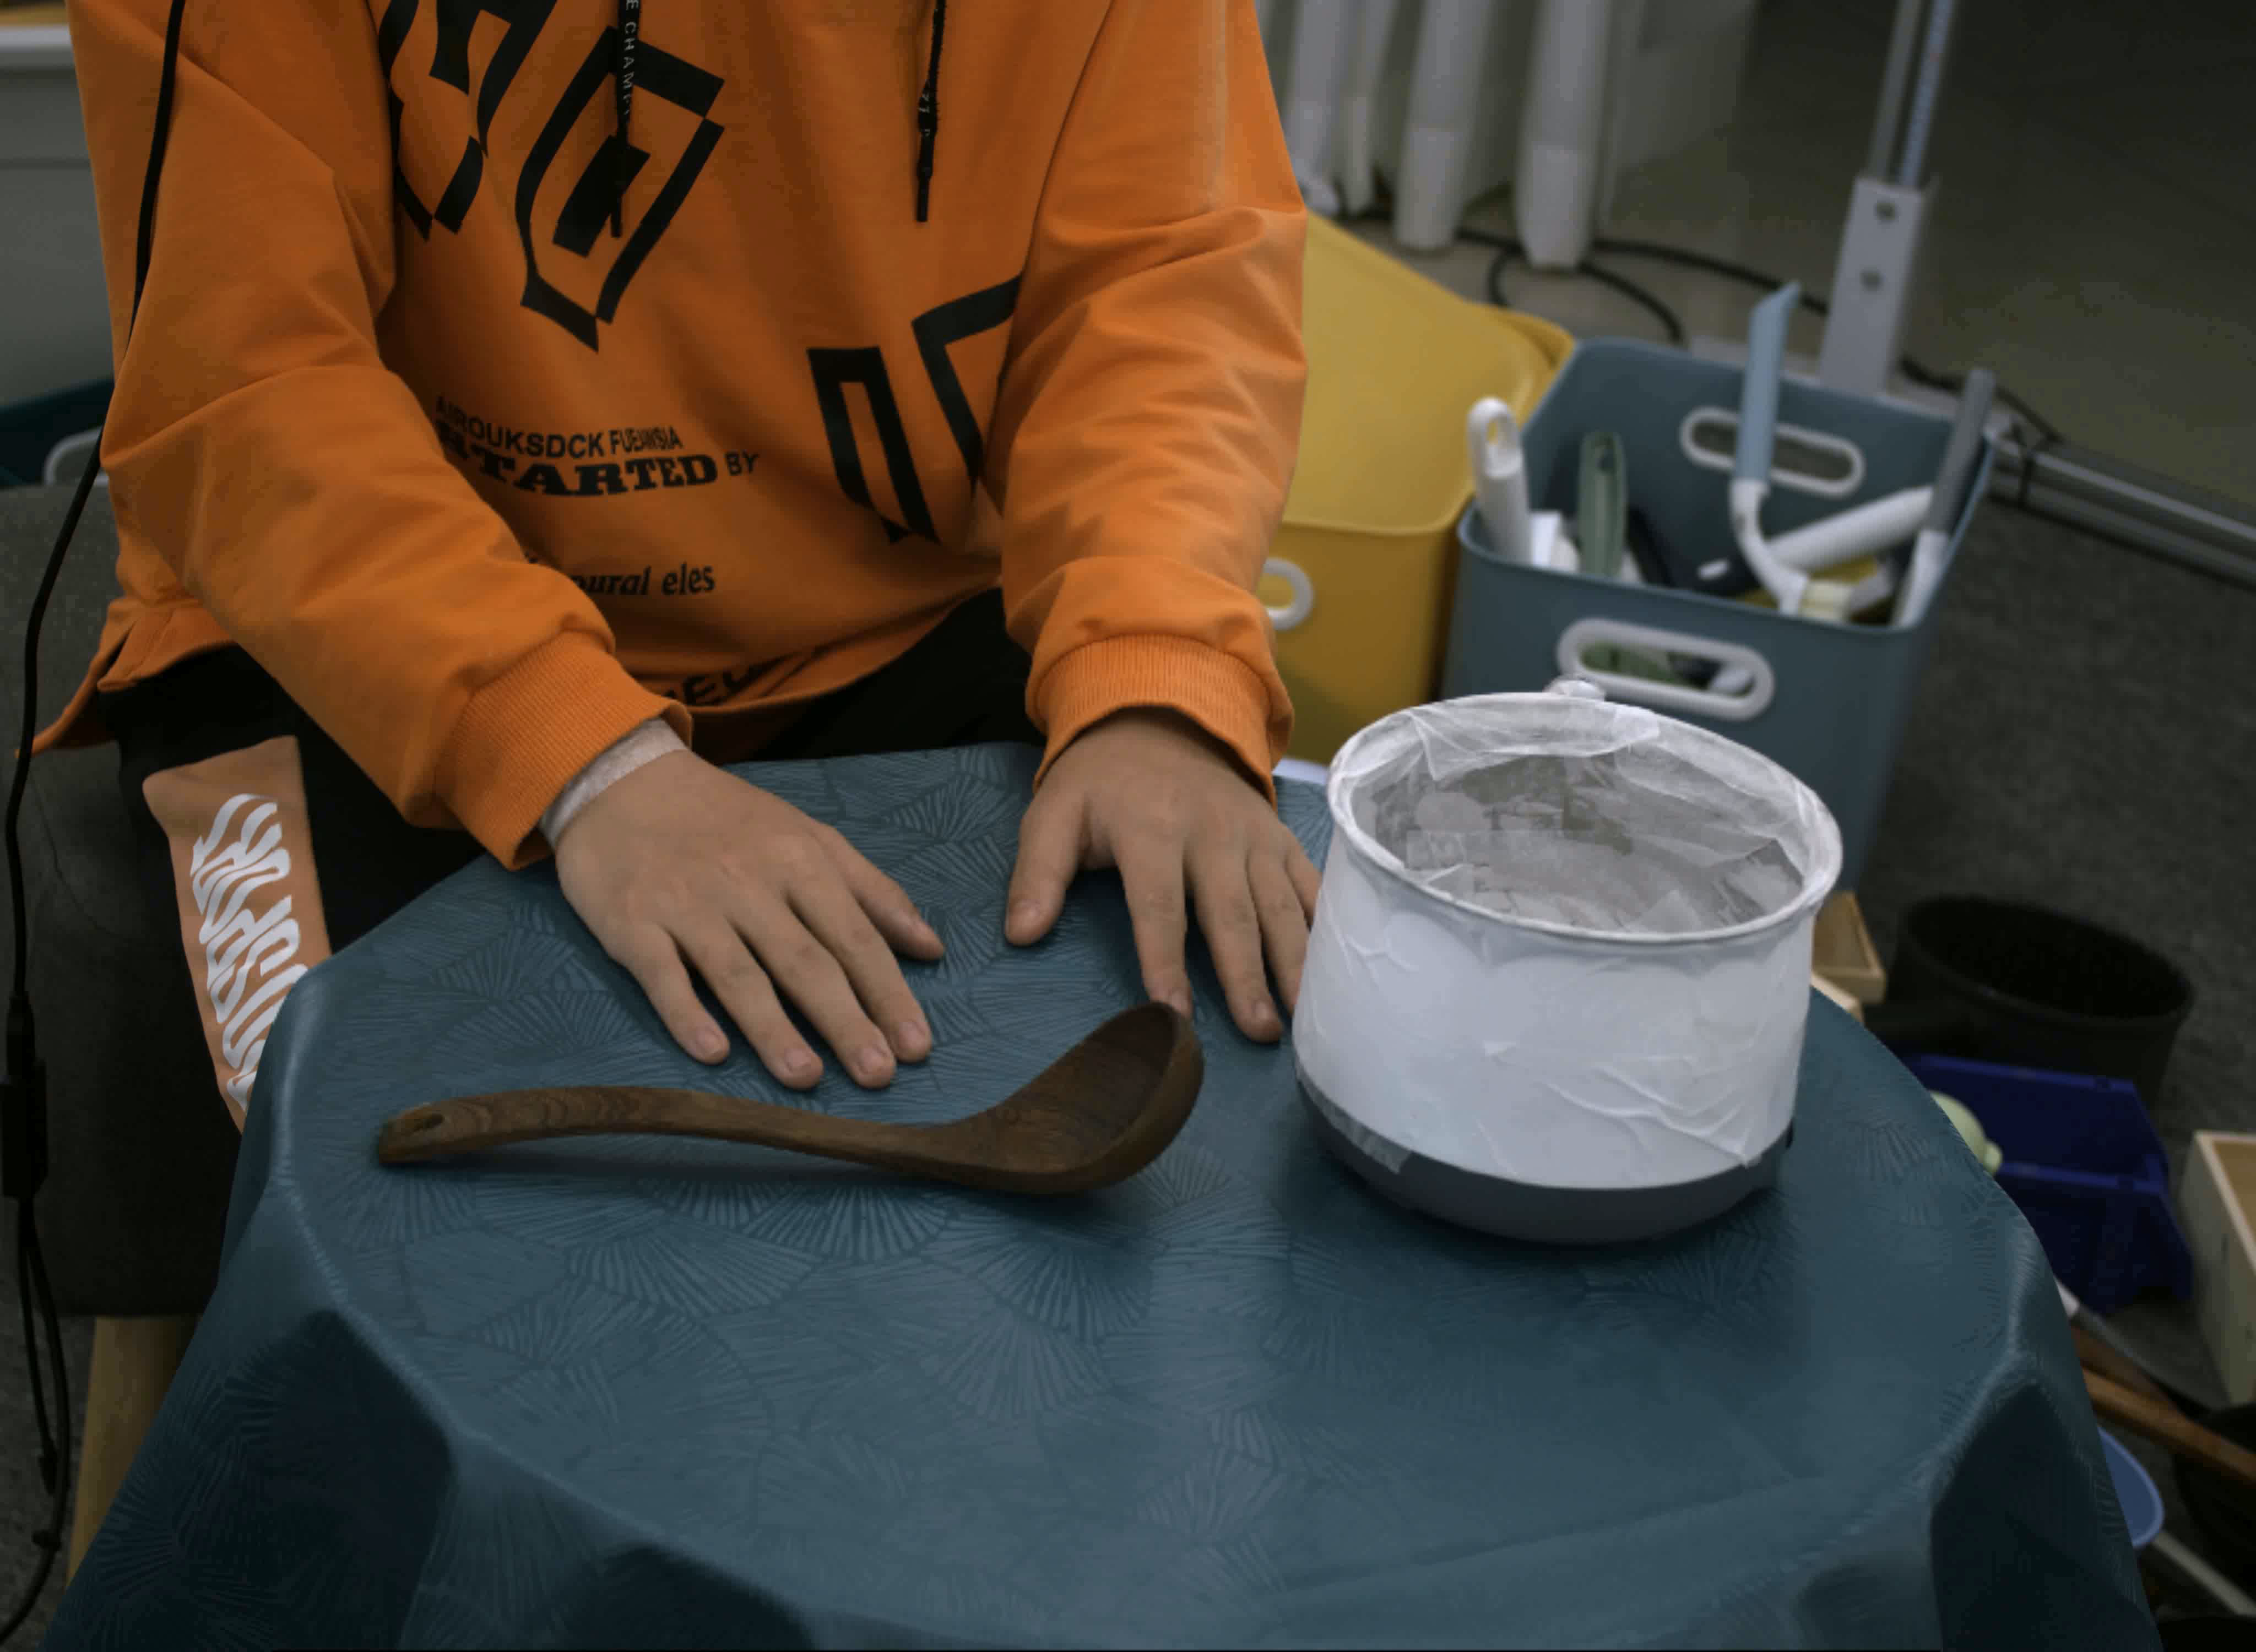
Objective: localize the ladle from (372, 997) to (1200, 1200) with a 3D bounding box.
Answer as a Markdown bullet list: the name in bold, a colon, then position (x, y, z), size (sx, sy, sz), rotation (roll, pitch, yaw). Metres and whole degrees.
- **ladle**: position (-0.113, 0.085, 1.776), size (0.273, 0.071, 0.076), rotation (4, 24, -7)

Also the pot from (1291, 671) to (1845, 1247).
- **pot**: position (0.148, 0.038, 1.852), size (0.178, 0.136, 0.235), rotation (7, 27, -1)
